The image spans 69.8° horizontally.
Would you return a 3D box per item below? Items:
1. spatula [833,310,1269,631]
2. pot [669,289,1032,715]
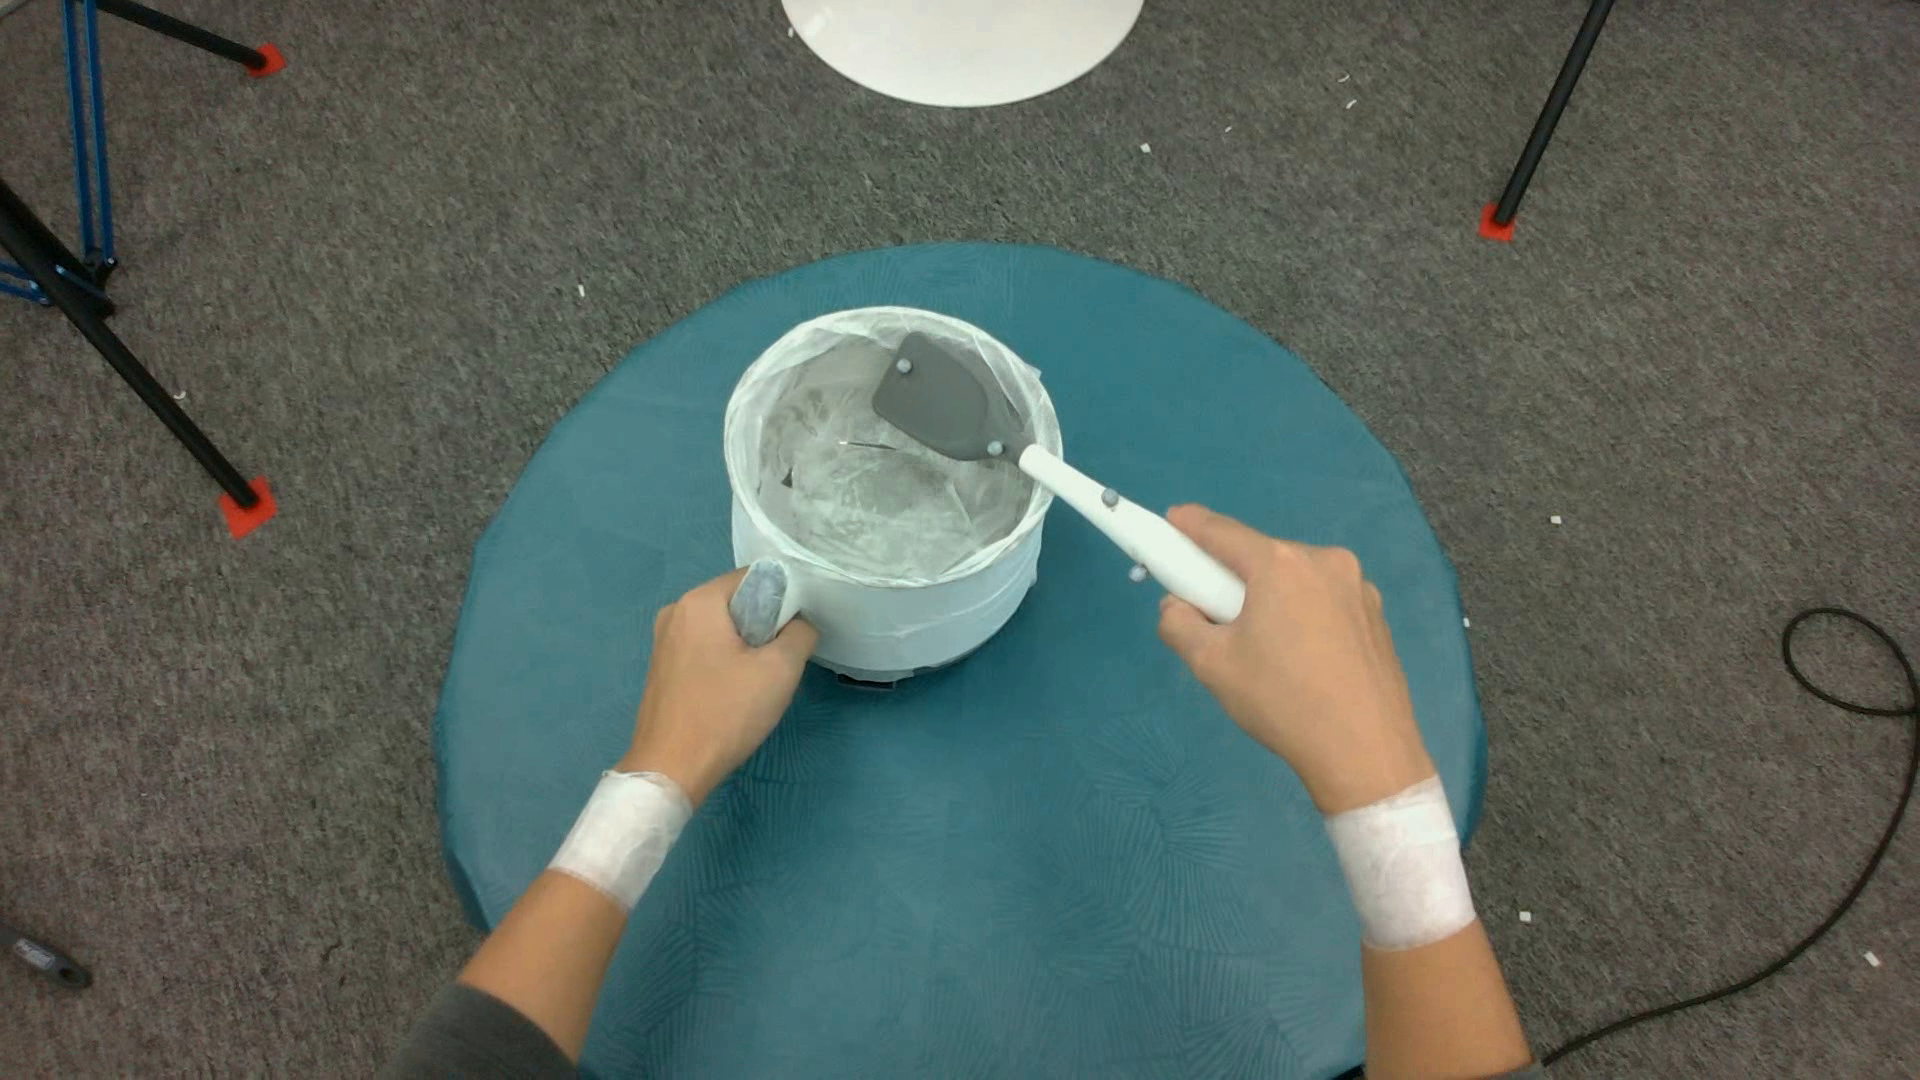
[{"bbox_3d":[0.034,-0.039,0.687,0.288,0.032,0.058,36,104,39],"label":"spatula"},{"bbox_3d":[-0.072,-0.011,0.755,0.179,0.136,0.235,33,61,12],"label":"pot"}]
